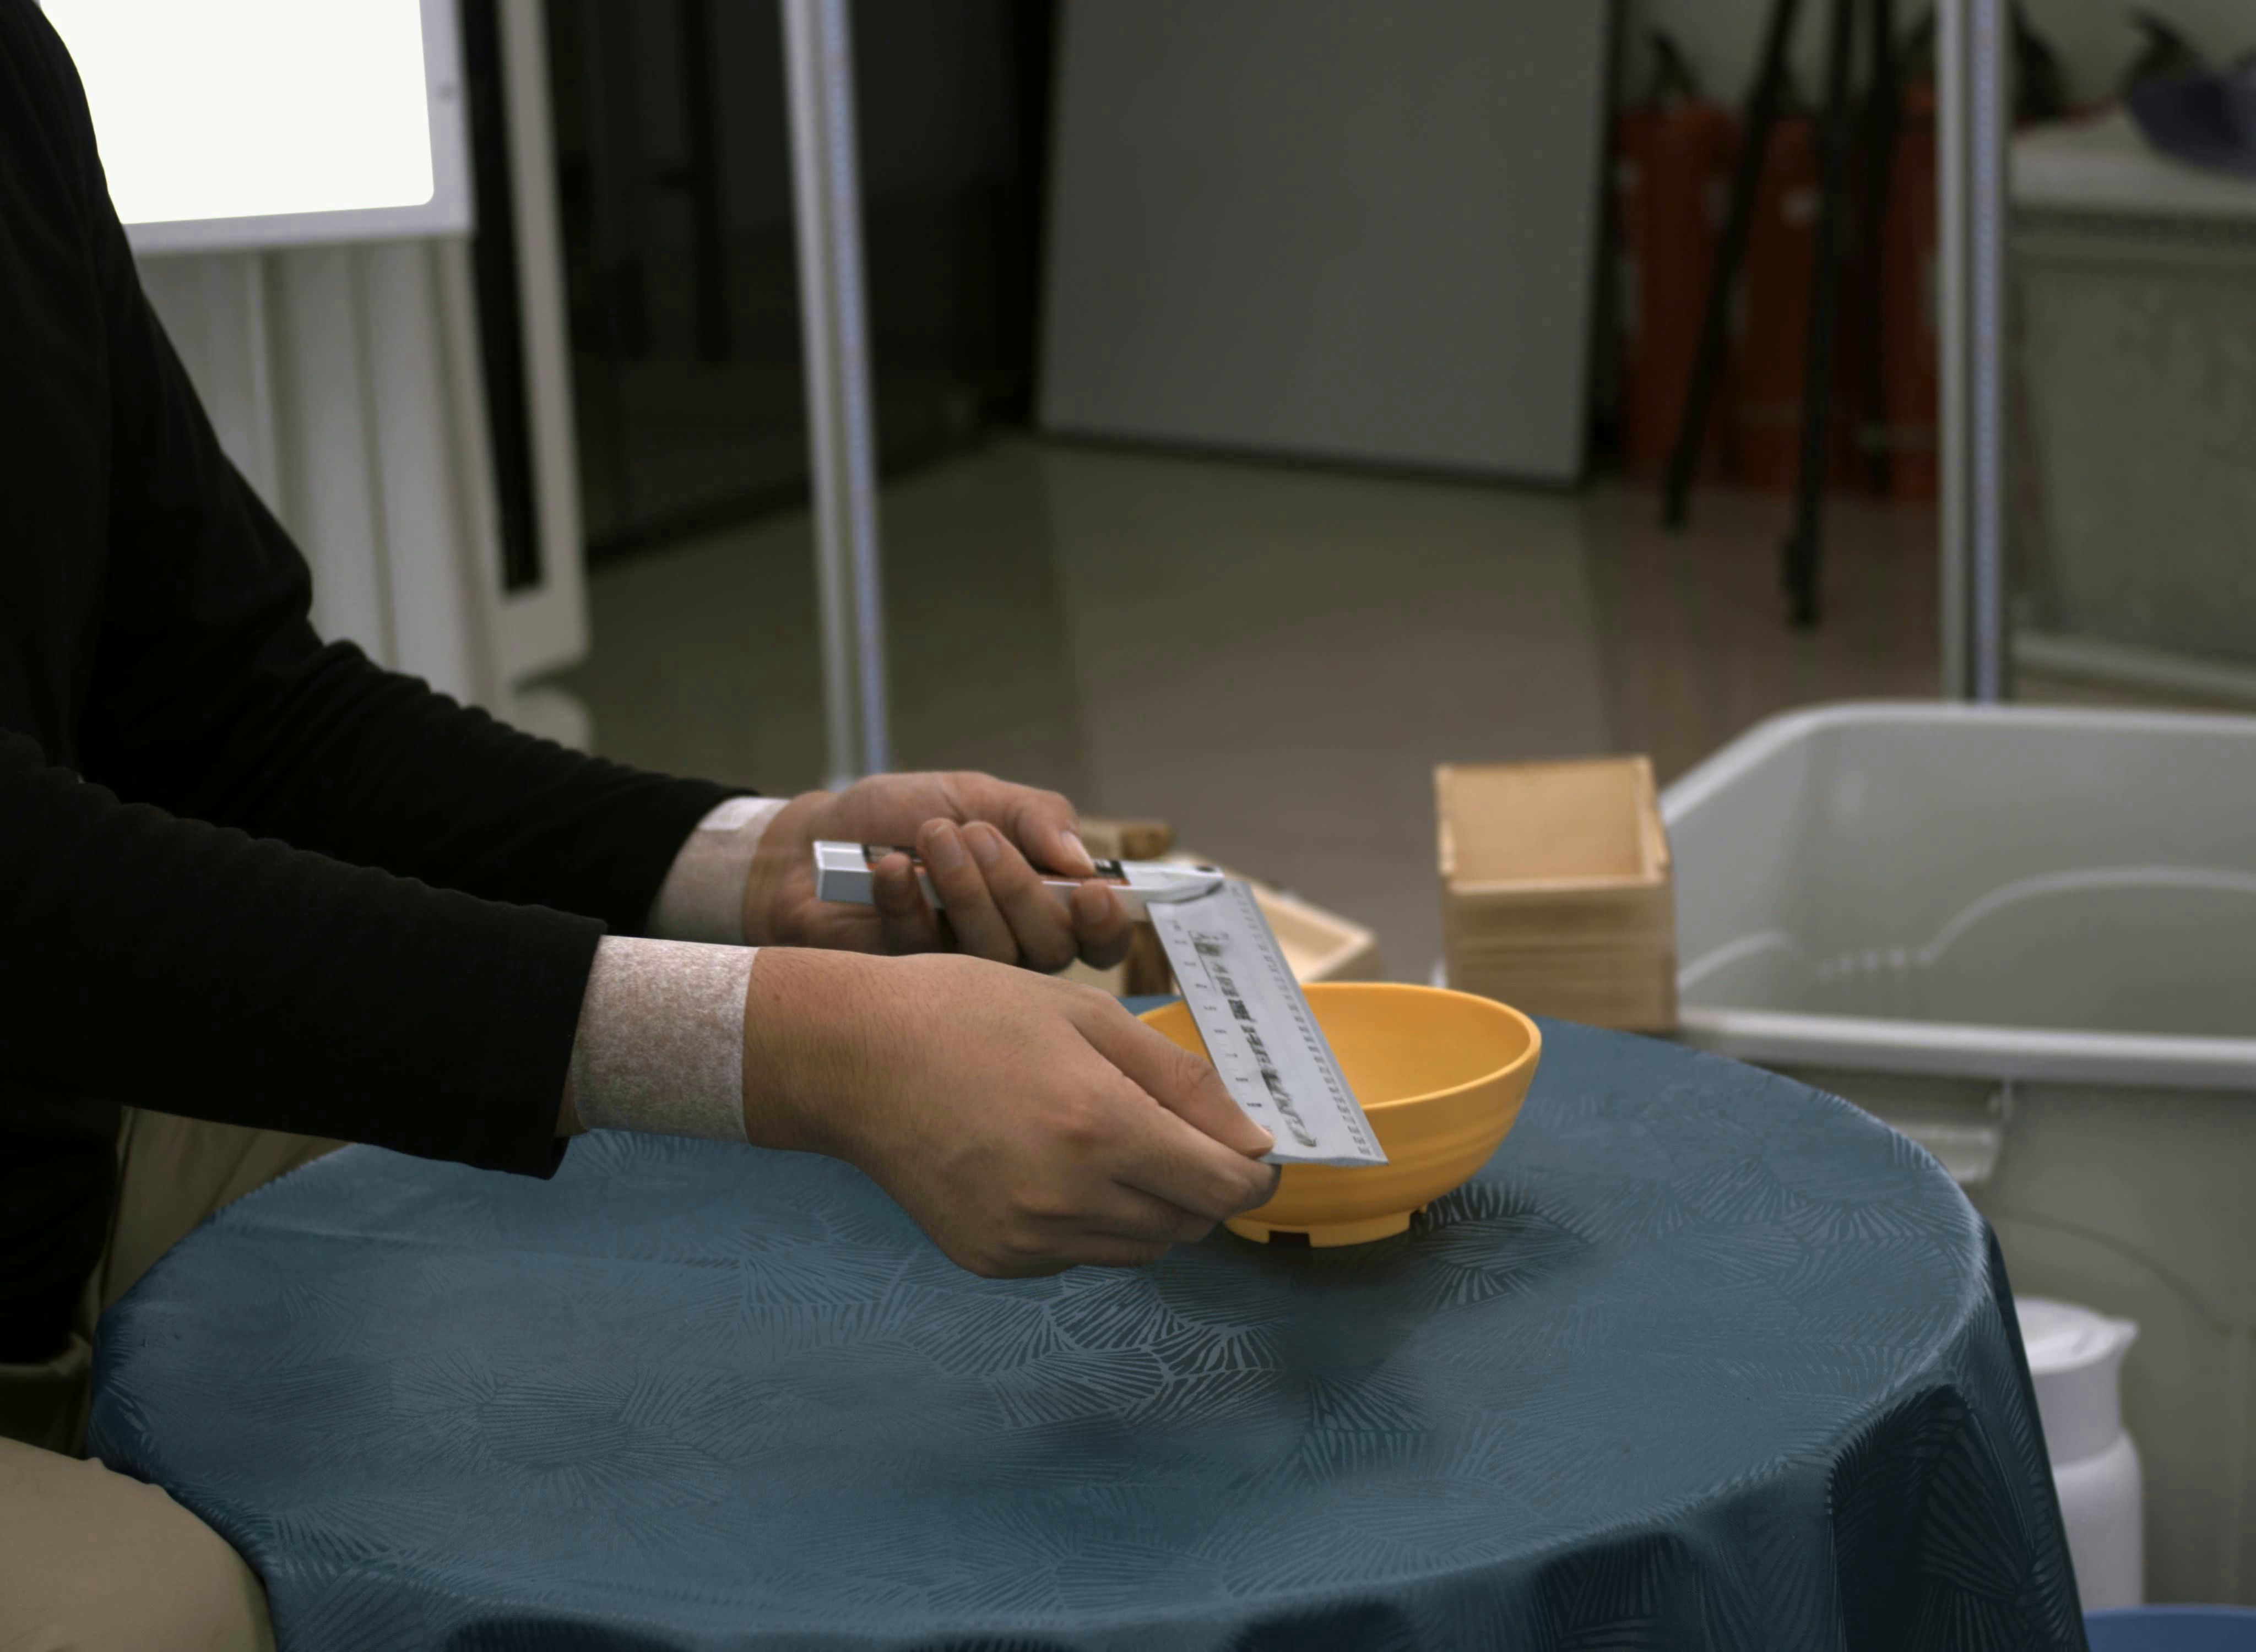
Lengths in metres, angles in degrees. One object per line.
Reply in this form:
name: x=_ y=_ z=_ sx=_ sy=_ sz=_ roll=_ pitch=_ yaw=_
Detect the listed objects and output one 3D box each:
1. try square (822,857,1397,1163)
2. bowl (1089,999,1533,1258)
try square: x=-0.013 y=0.055 z=1.690 sx=0.150 sy=0.016 sz=0.314 roll=2 pitch=14 yaw=-6
bowl: x=0.061 y=0.100 z=1.724 sx=0.143 sy=0.061 sz=0.145 roll=-6 pitch=11 yaw=0
